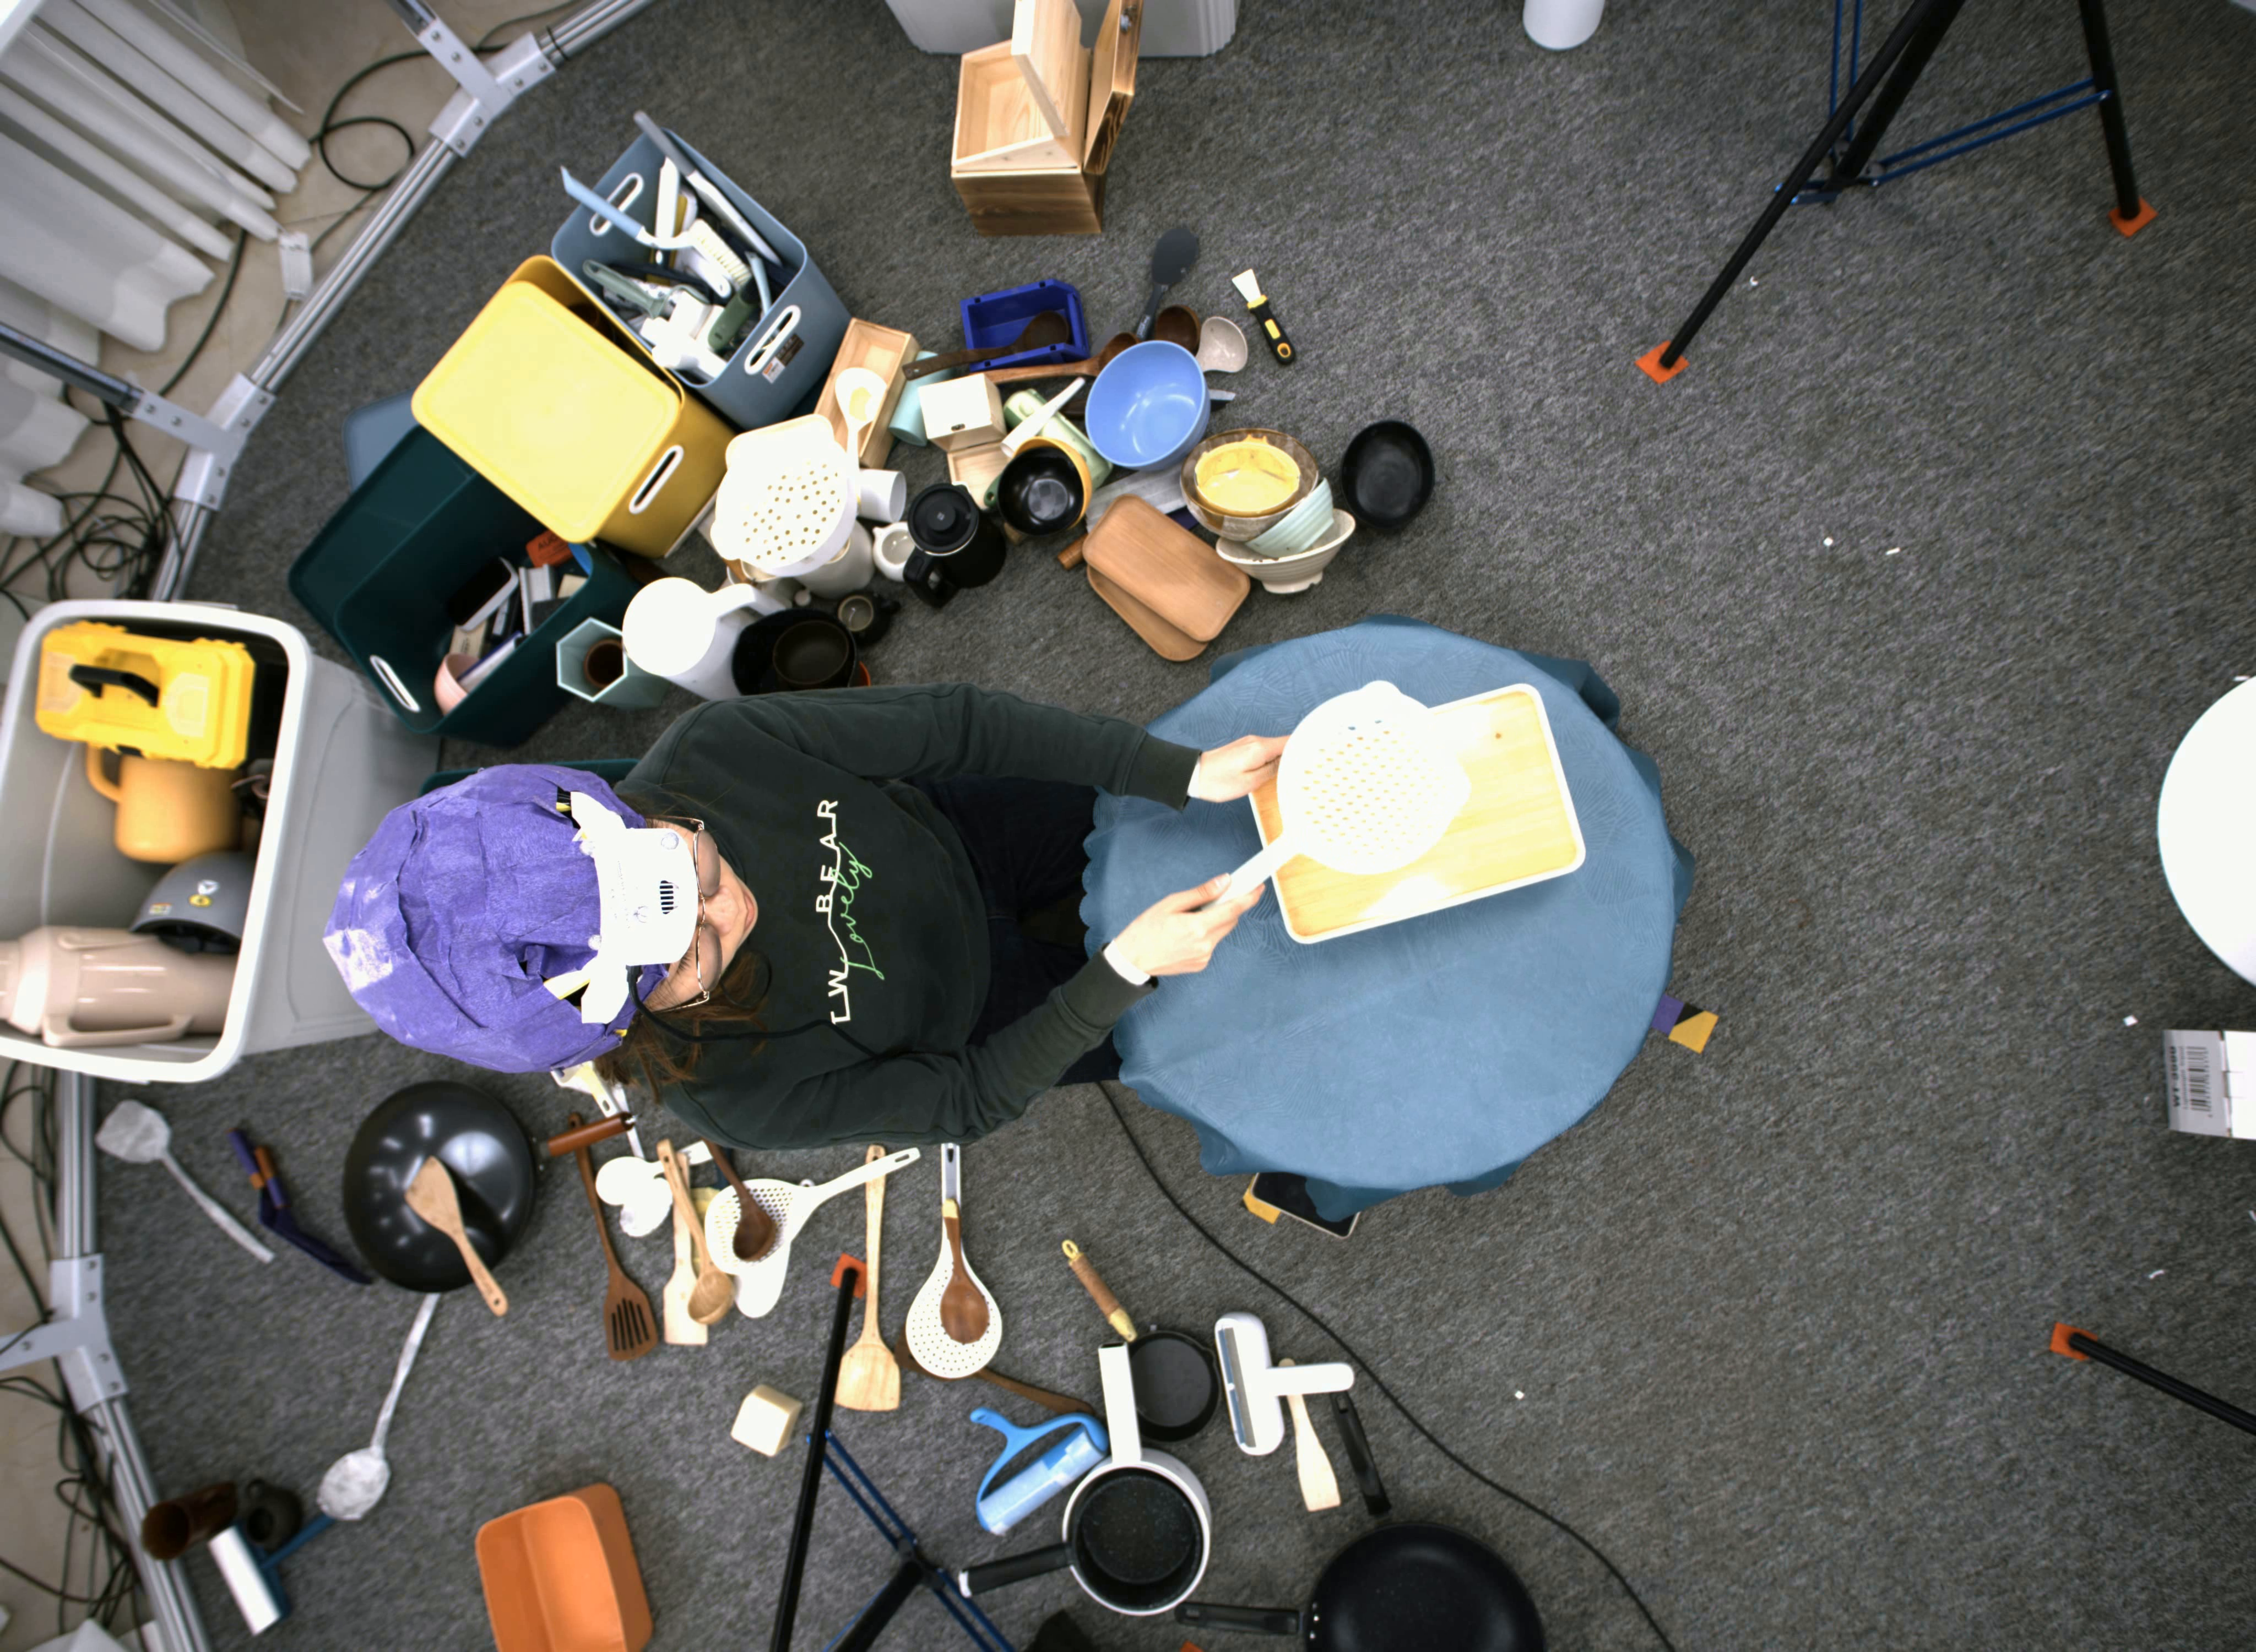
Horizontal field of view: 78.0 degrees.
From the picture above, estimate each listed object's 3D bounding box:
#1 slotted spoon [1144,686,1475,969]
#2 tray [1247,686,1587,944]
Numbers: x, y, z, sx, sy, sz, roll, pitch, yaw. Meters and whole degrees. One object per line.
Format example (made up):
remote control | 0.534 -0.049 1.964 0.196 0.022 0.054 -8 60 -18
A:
slotted spoon | 0.154 0.023 1.302 0.360 0.076 0.167 -36 71 6
tray | 0.284 -0.011 1.366 0.302 0.027 0.191 -16 89 9
